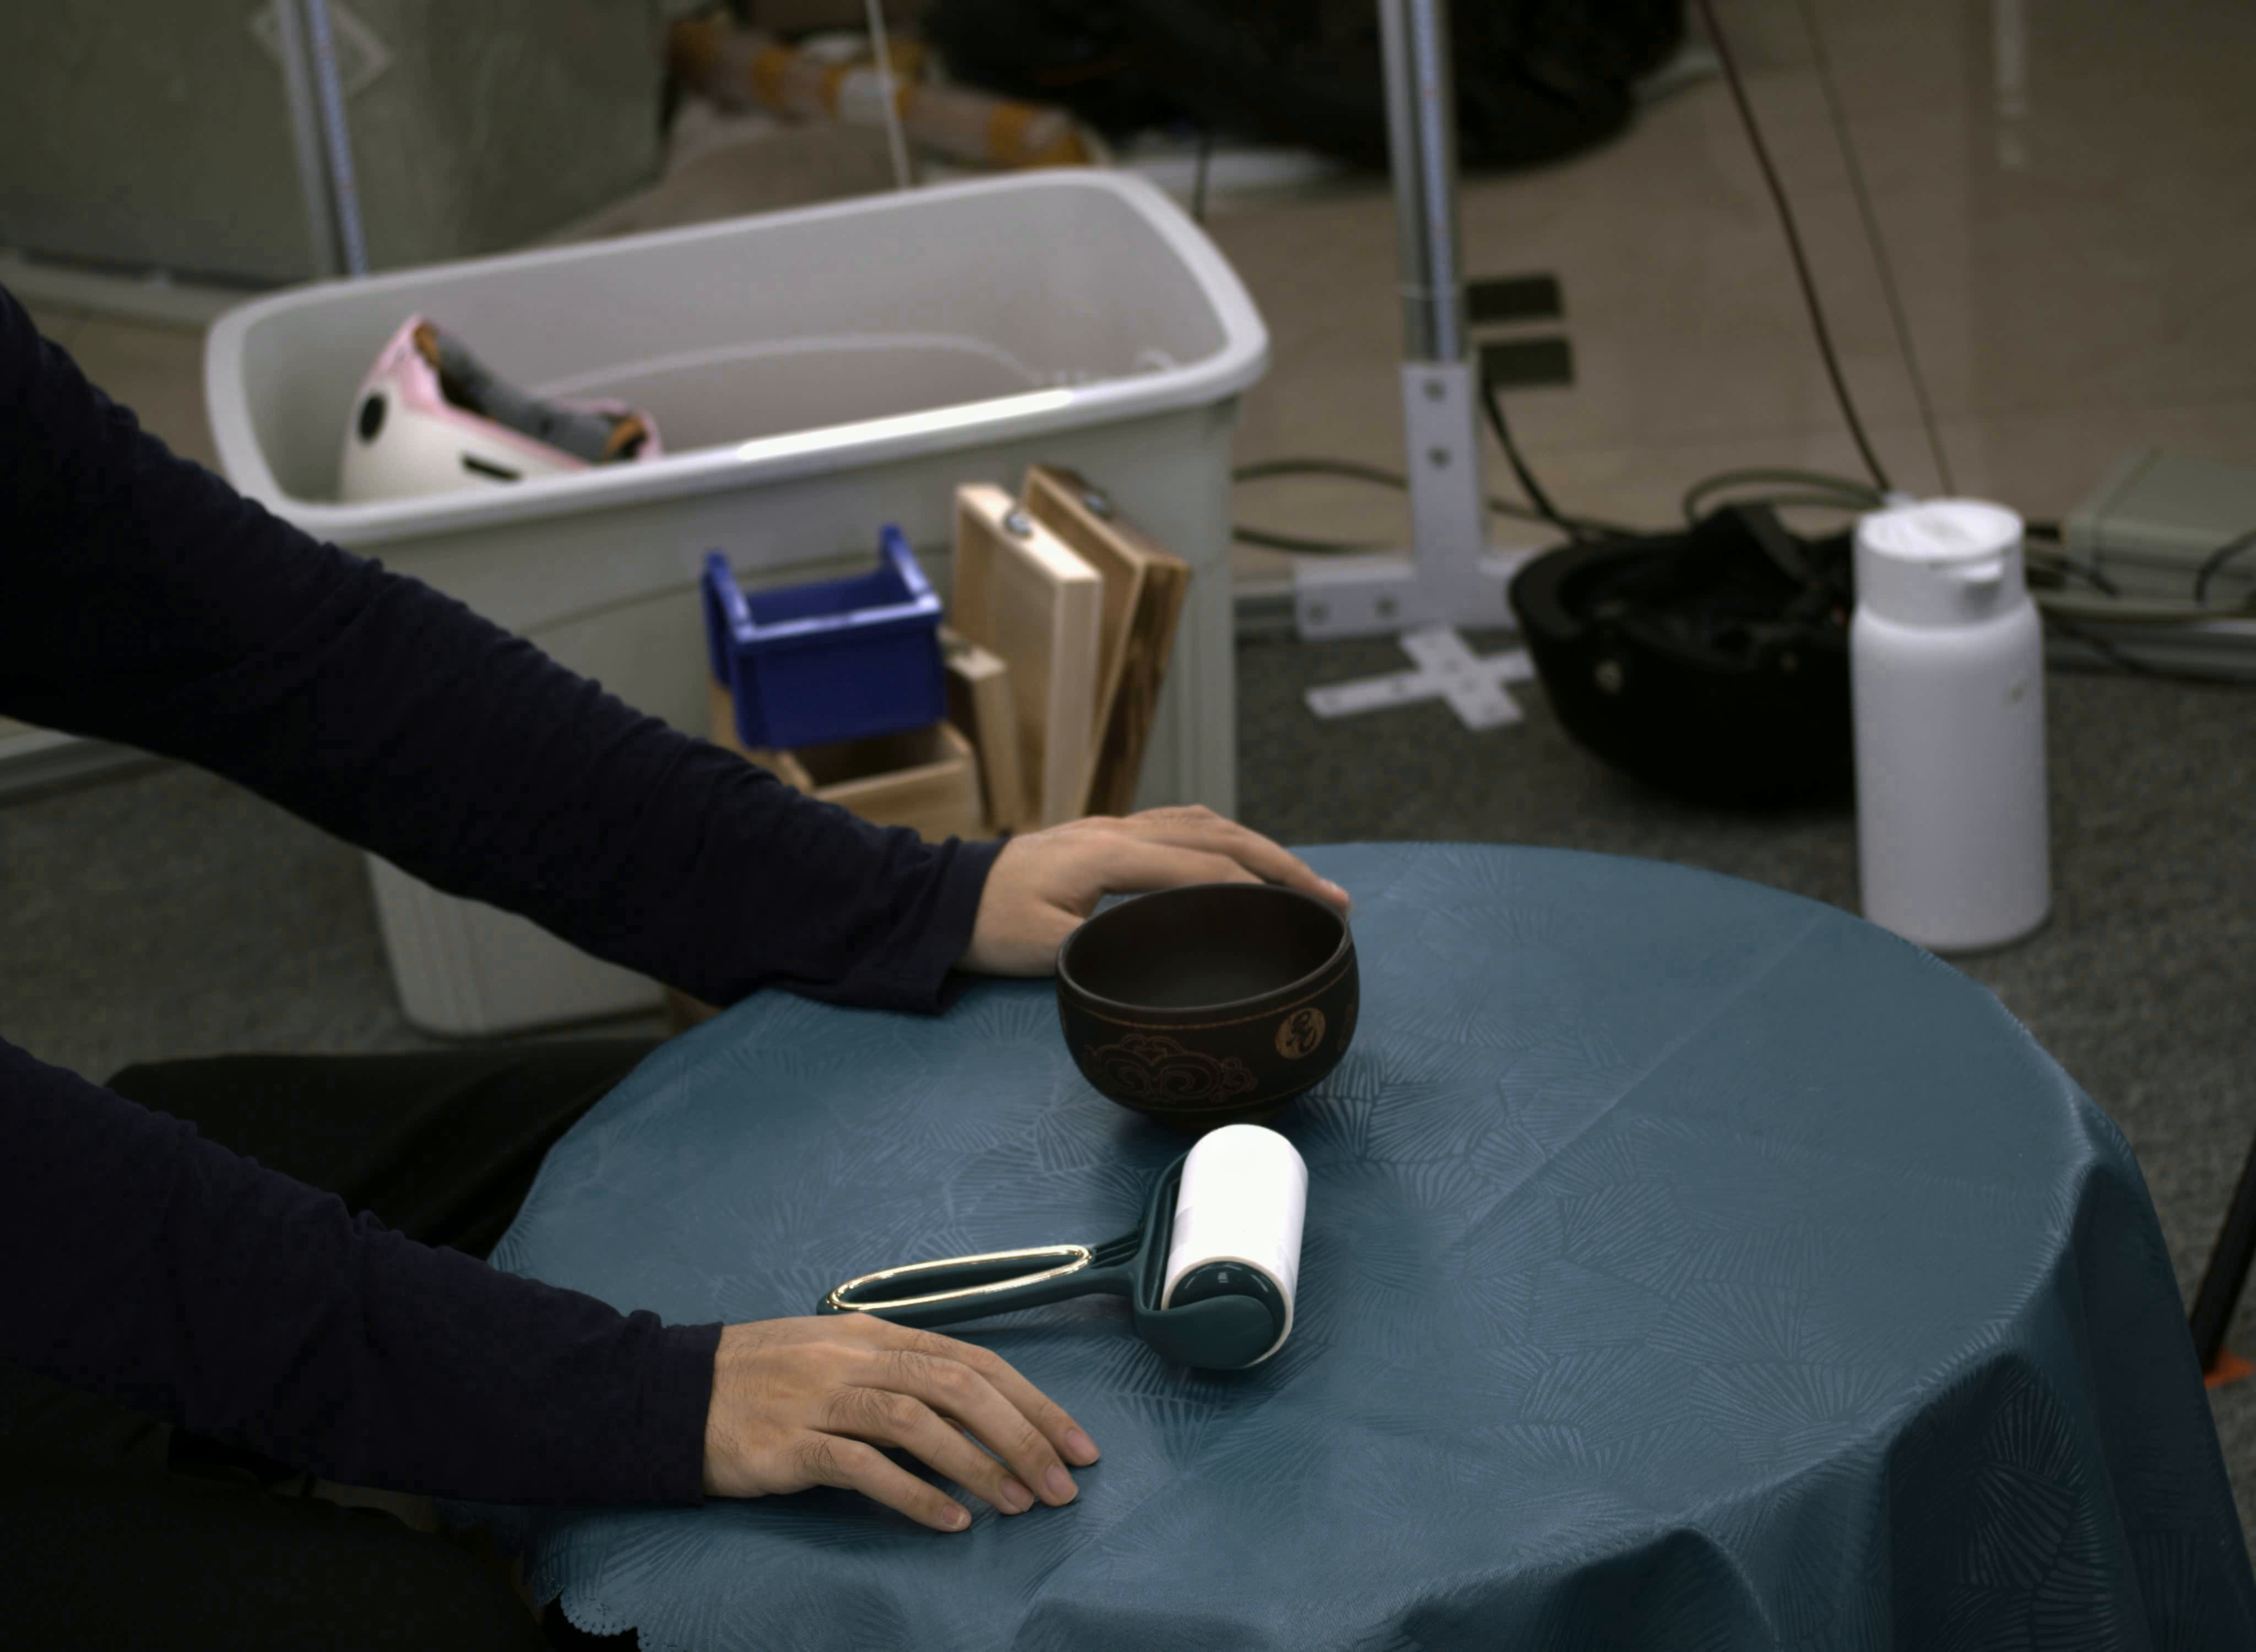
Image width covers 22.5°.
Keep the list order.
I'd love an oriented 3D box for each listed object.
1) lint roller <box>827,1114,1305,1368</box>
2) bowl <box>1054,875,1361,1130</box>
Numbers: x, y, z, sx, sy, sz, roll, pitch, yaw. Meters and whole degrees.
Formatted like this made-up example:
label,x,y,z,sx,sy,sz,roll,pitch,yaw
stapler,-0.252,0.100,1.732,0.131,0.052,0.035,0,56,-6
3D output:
label,x,y,z,sx,sy,sz,roll,pitch,yaw
lint roller,-0.027,0.160,2.067,0.180,0.049,0.132,-8,25,9
bowl,0.033,0.074,2.196,0.118,0.071,0.116,-7,26,4
